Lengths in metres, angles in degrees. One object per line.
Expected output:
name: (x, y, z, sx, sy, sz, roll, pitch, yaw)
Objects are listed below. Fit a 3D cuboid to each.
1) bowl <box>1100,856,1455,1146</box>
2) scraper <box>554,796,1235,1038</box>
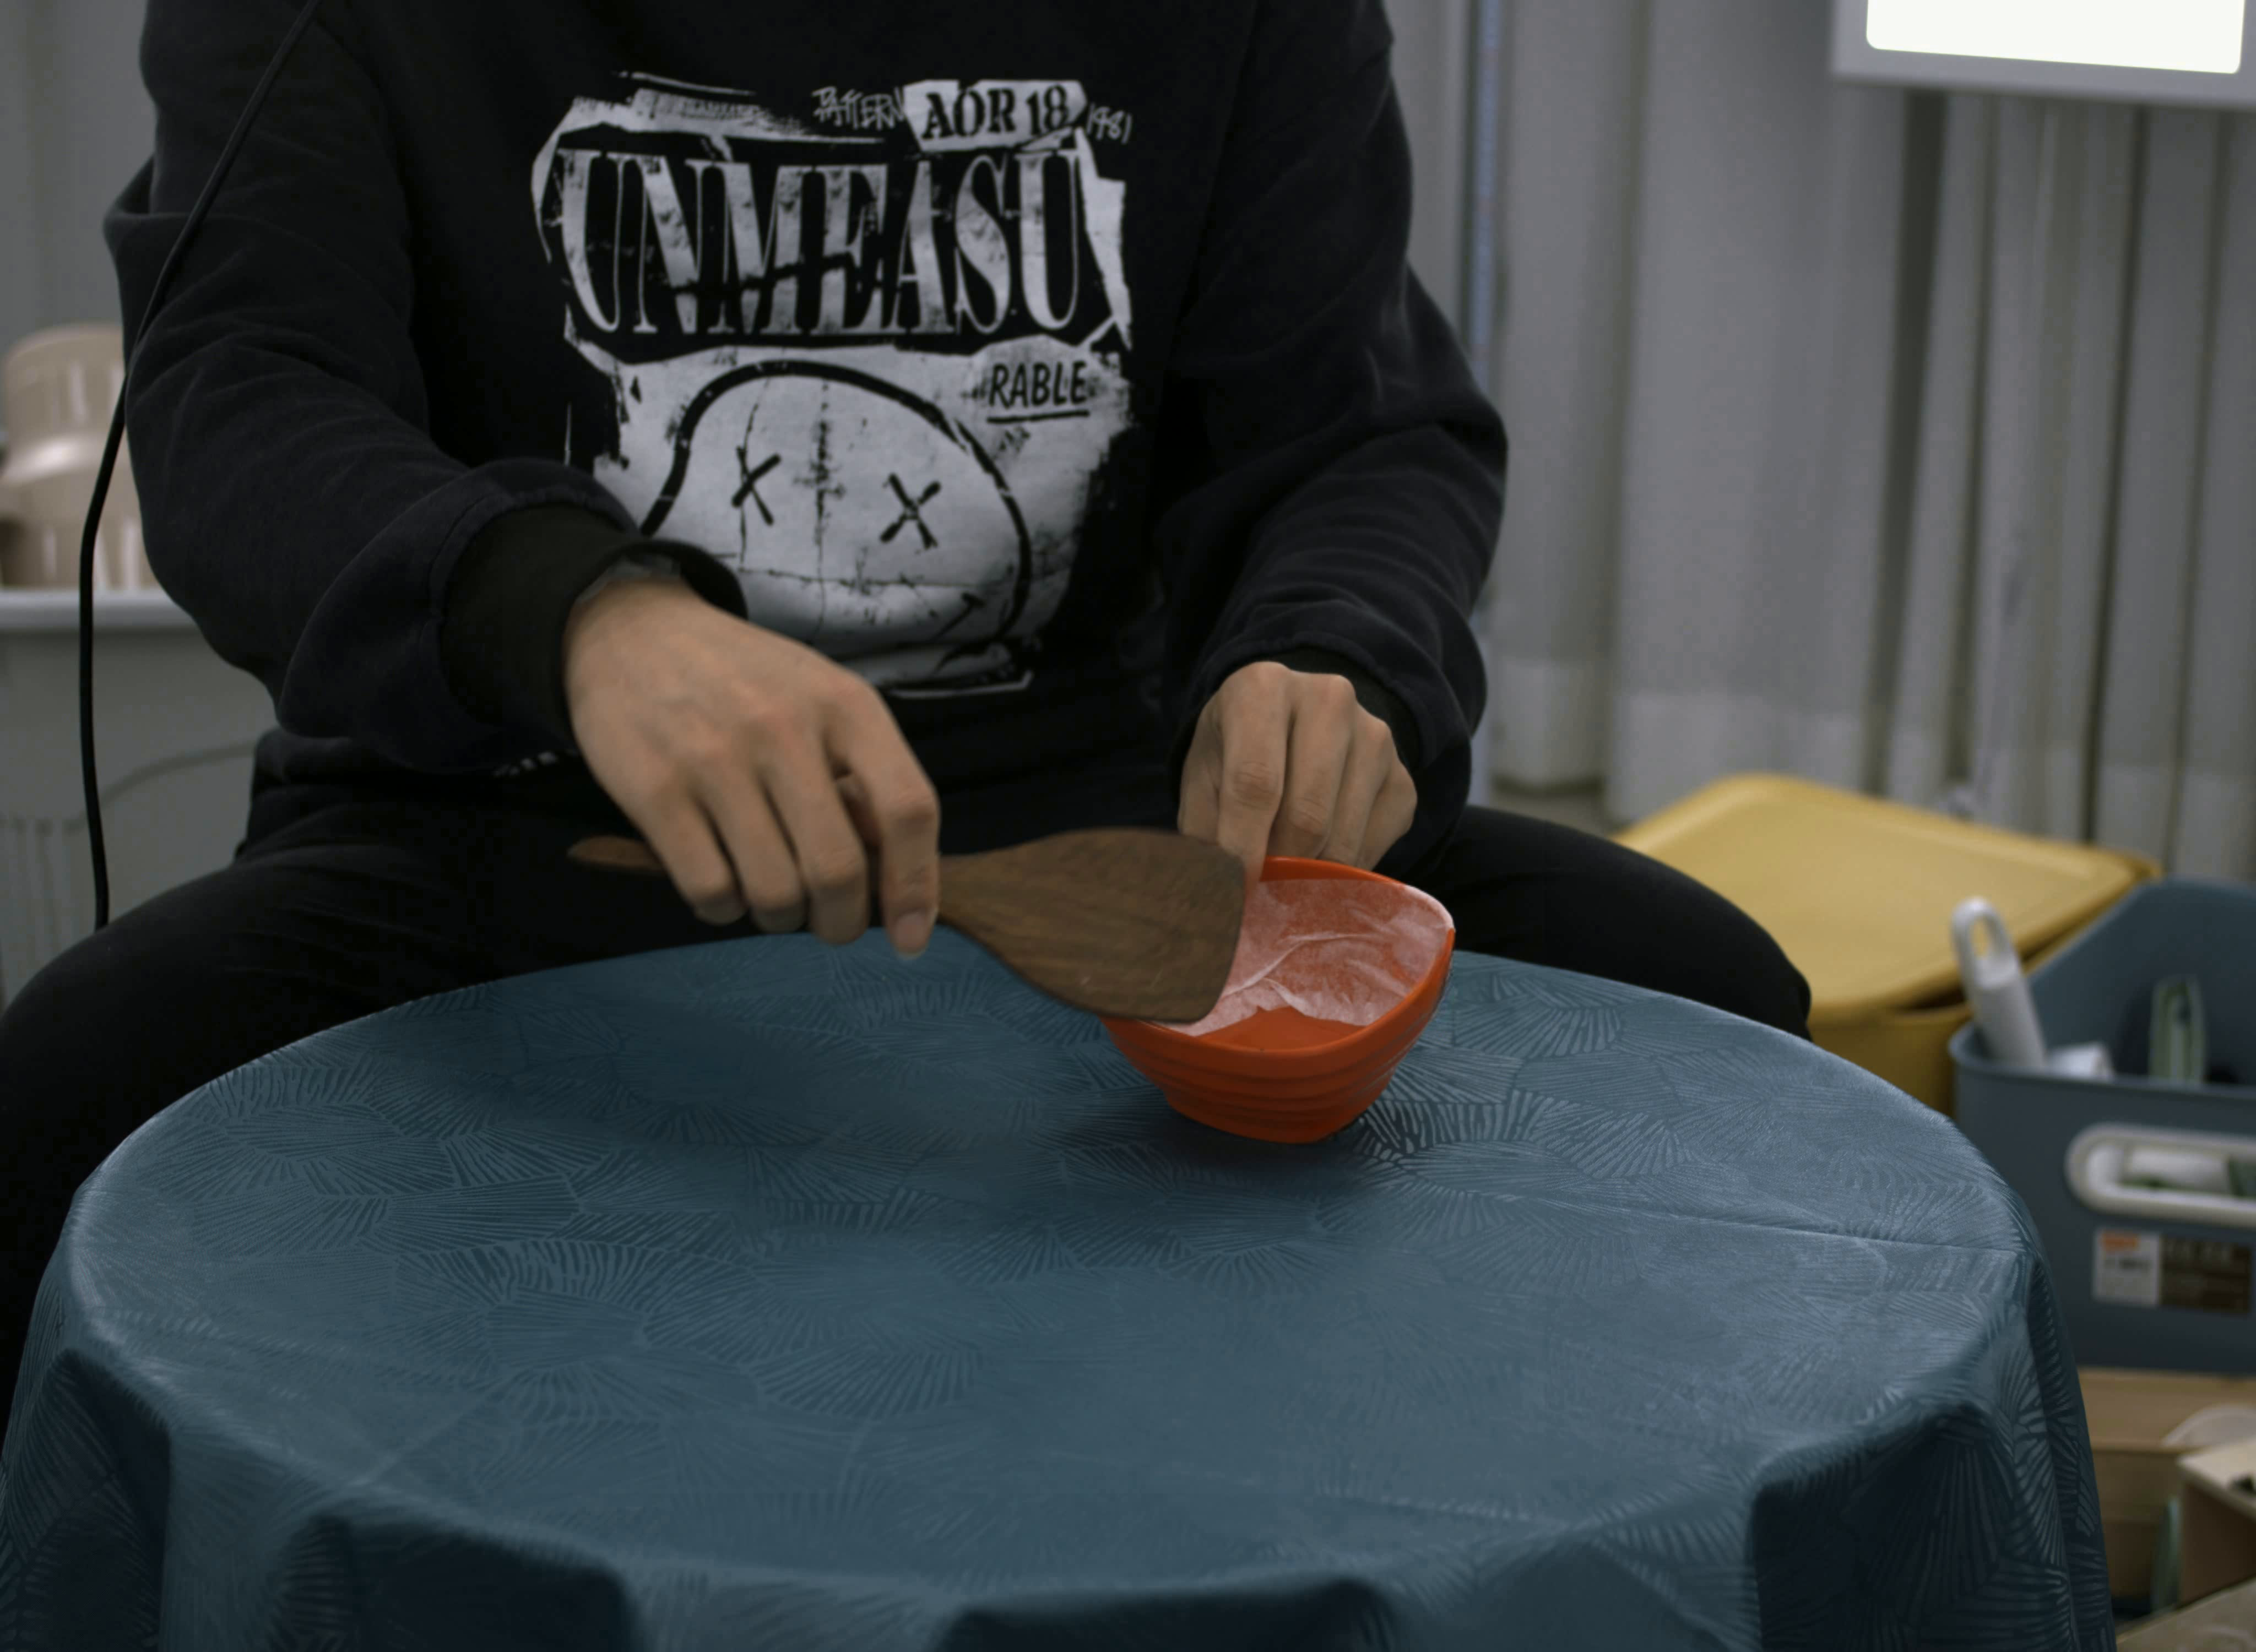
bowl: (0.048, 0.061, 1.689, 0.118, 0.052, 0.118, -4, 33, 3)
scraper: (-0.072, 0.020, 1.617, 0.210, 0.011, 0.075, 11, 50, 3)
